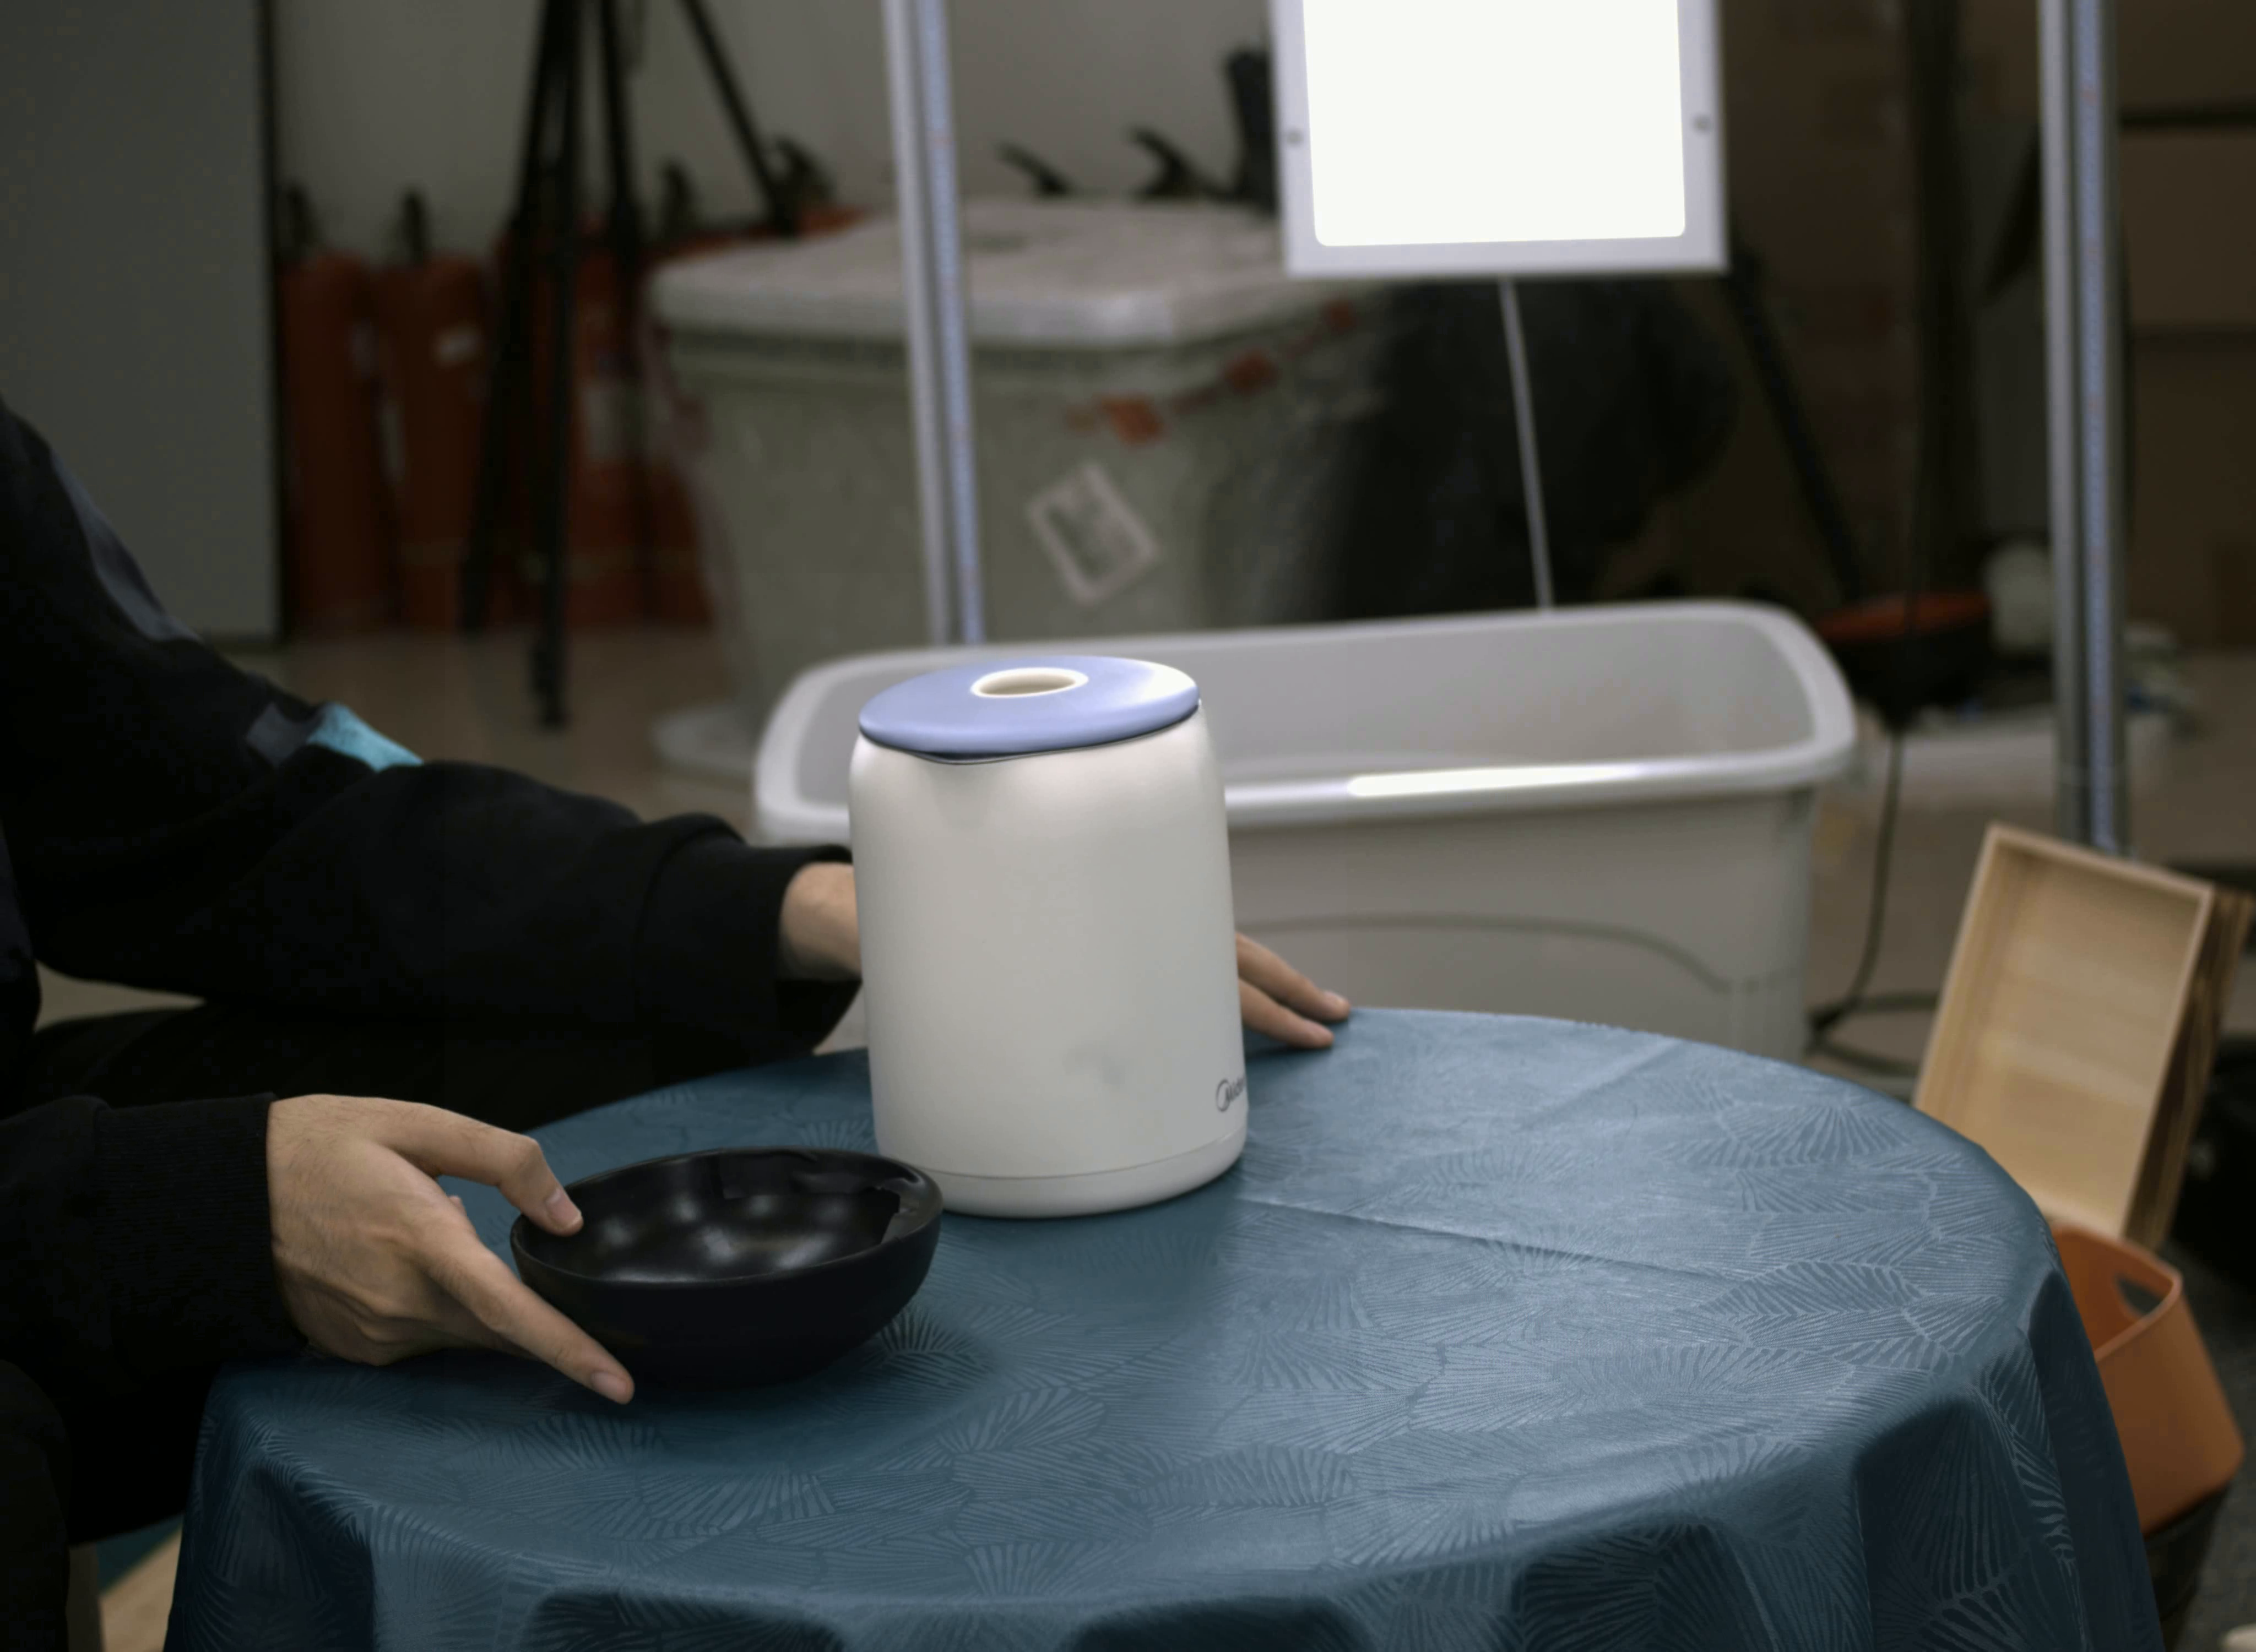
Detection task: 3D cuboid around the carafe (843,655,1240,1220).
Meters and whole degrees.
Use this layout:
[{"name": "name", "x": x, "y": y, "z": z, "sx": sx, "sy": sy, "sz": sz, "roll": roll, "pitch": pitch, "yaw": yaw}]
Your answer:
[{"name": "carafe", "x": -0.022, "y": 0.032, "z": 1.930, "sx": 0.134, "sy": 0.183, "sz": 0.188, "roll": 2, "pitch": 13, "yaw": 20}]

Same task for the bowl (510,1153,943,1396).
[{"name": "bowl", "x": -0.125, "y": 0.147, "z": 1.758, "sx": 0.140, "sy": 0.050, "sz": 0.140, "roll": -7, "pitch": 12, "yaw": 0}]
